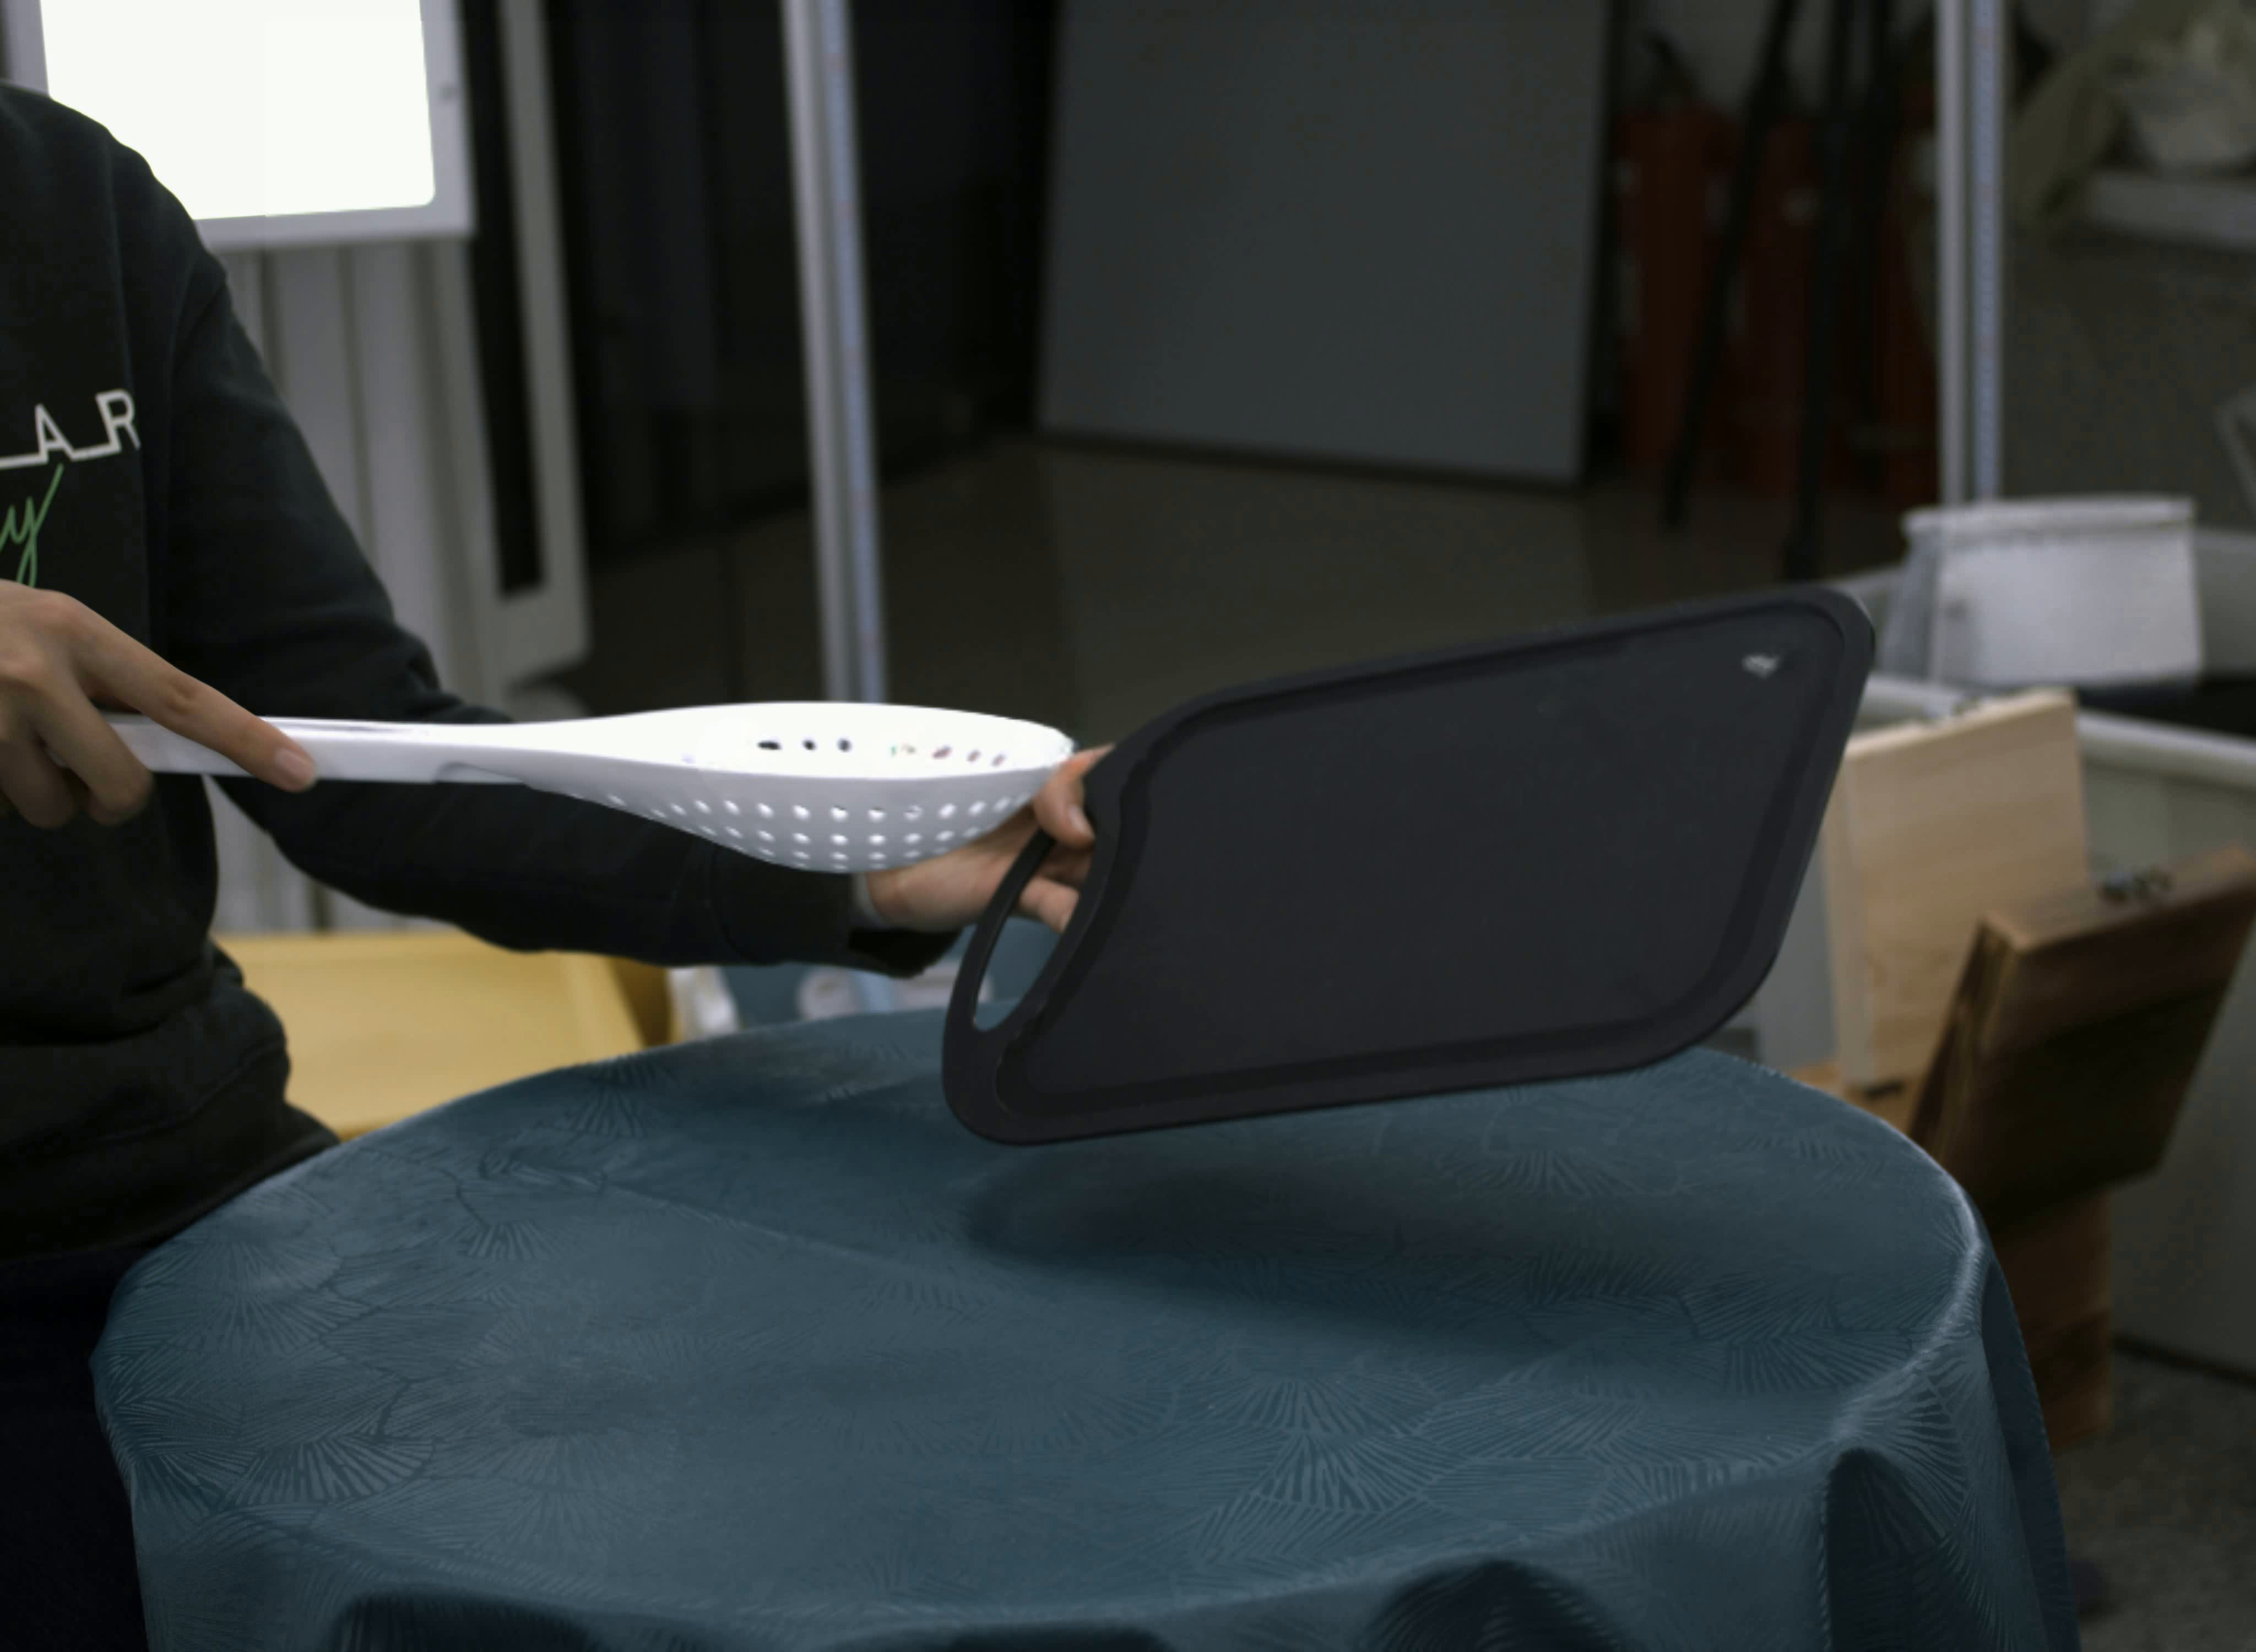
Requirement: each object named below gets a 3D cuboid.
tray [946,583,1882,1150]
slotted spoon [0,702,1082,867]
[{"bbox_3d":[0.081,0.014,1.716,0.327,0.010,0.211,-10,41,36],"label":"tray"},{"bbox_3d":[-0.187,-0.023,1.594,0.345,0.046,0.136,6,8,-1],"label":"slotted spoon"}]
